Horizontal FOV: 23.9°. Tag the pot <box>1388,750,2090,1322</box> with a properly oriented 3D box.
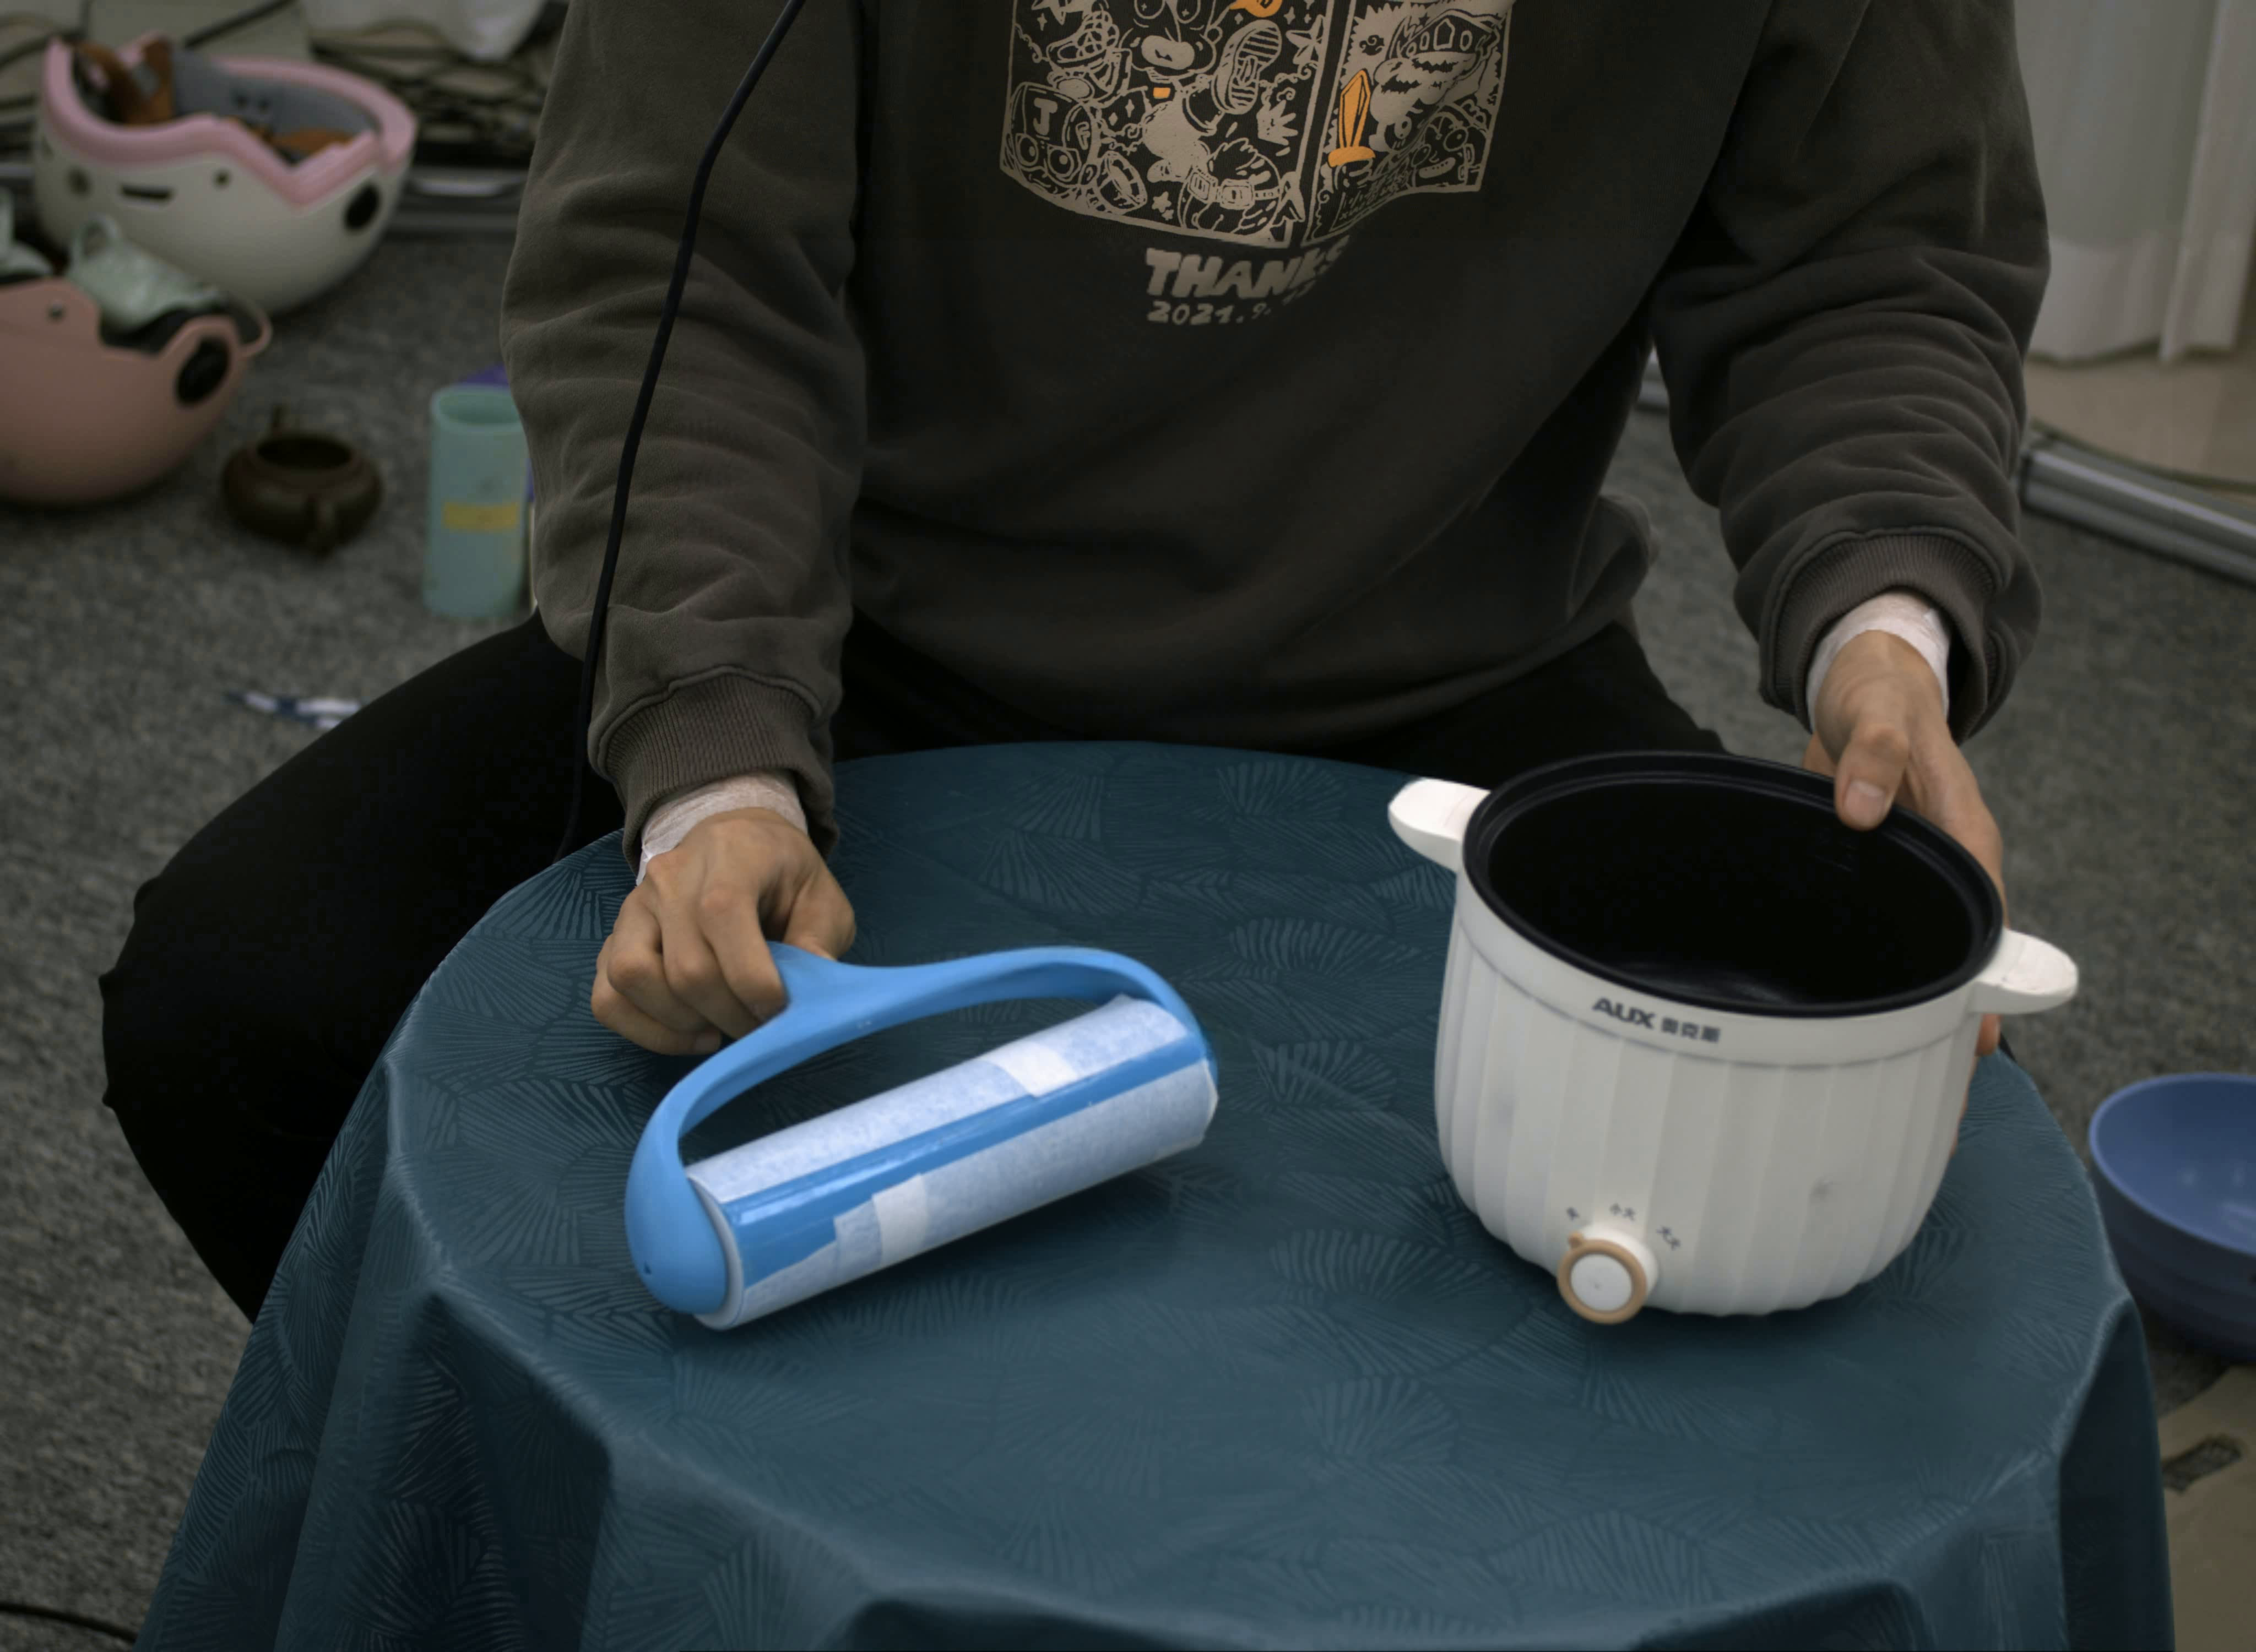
[{"bbox_3d":[0.193,0.076,1.787,0.241,0.142,0.190,13,24,16],"label":"pot"}]

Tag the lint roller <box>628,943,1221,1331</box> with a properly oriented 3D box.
[{"bbox_3d":[-0.100,0.078,1.780,0.228,0.067,0.182,-23,45,-34],"label":"lint roller"}]
